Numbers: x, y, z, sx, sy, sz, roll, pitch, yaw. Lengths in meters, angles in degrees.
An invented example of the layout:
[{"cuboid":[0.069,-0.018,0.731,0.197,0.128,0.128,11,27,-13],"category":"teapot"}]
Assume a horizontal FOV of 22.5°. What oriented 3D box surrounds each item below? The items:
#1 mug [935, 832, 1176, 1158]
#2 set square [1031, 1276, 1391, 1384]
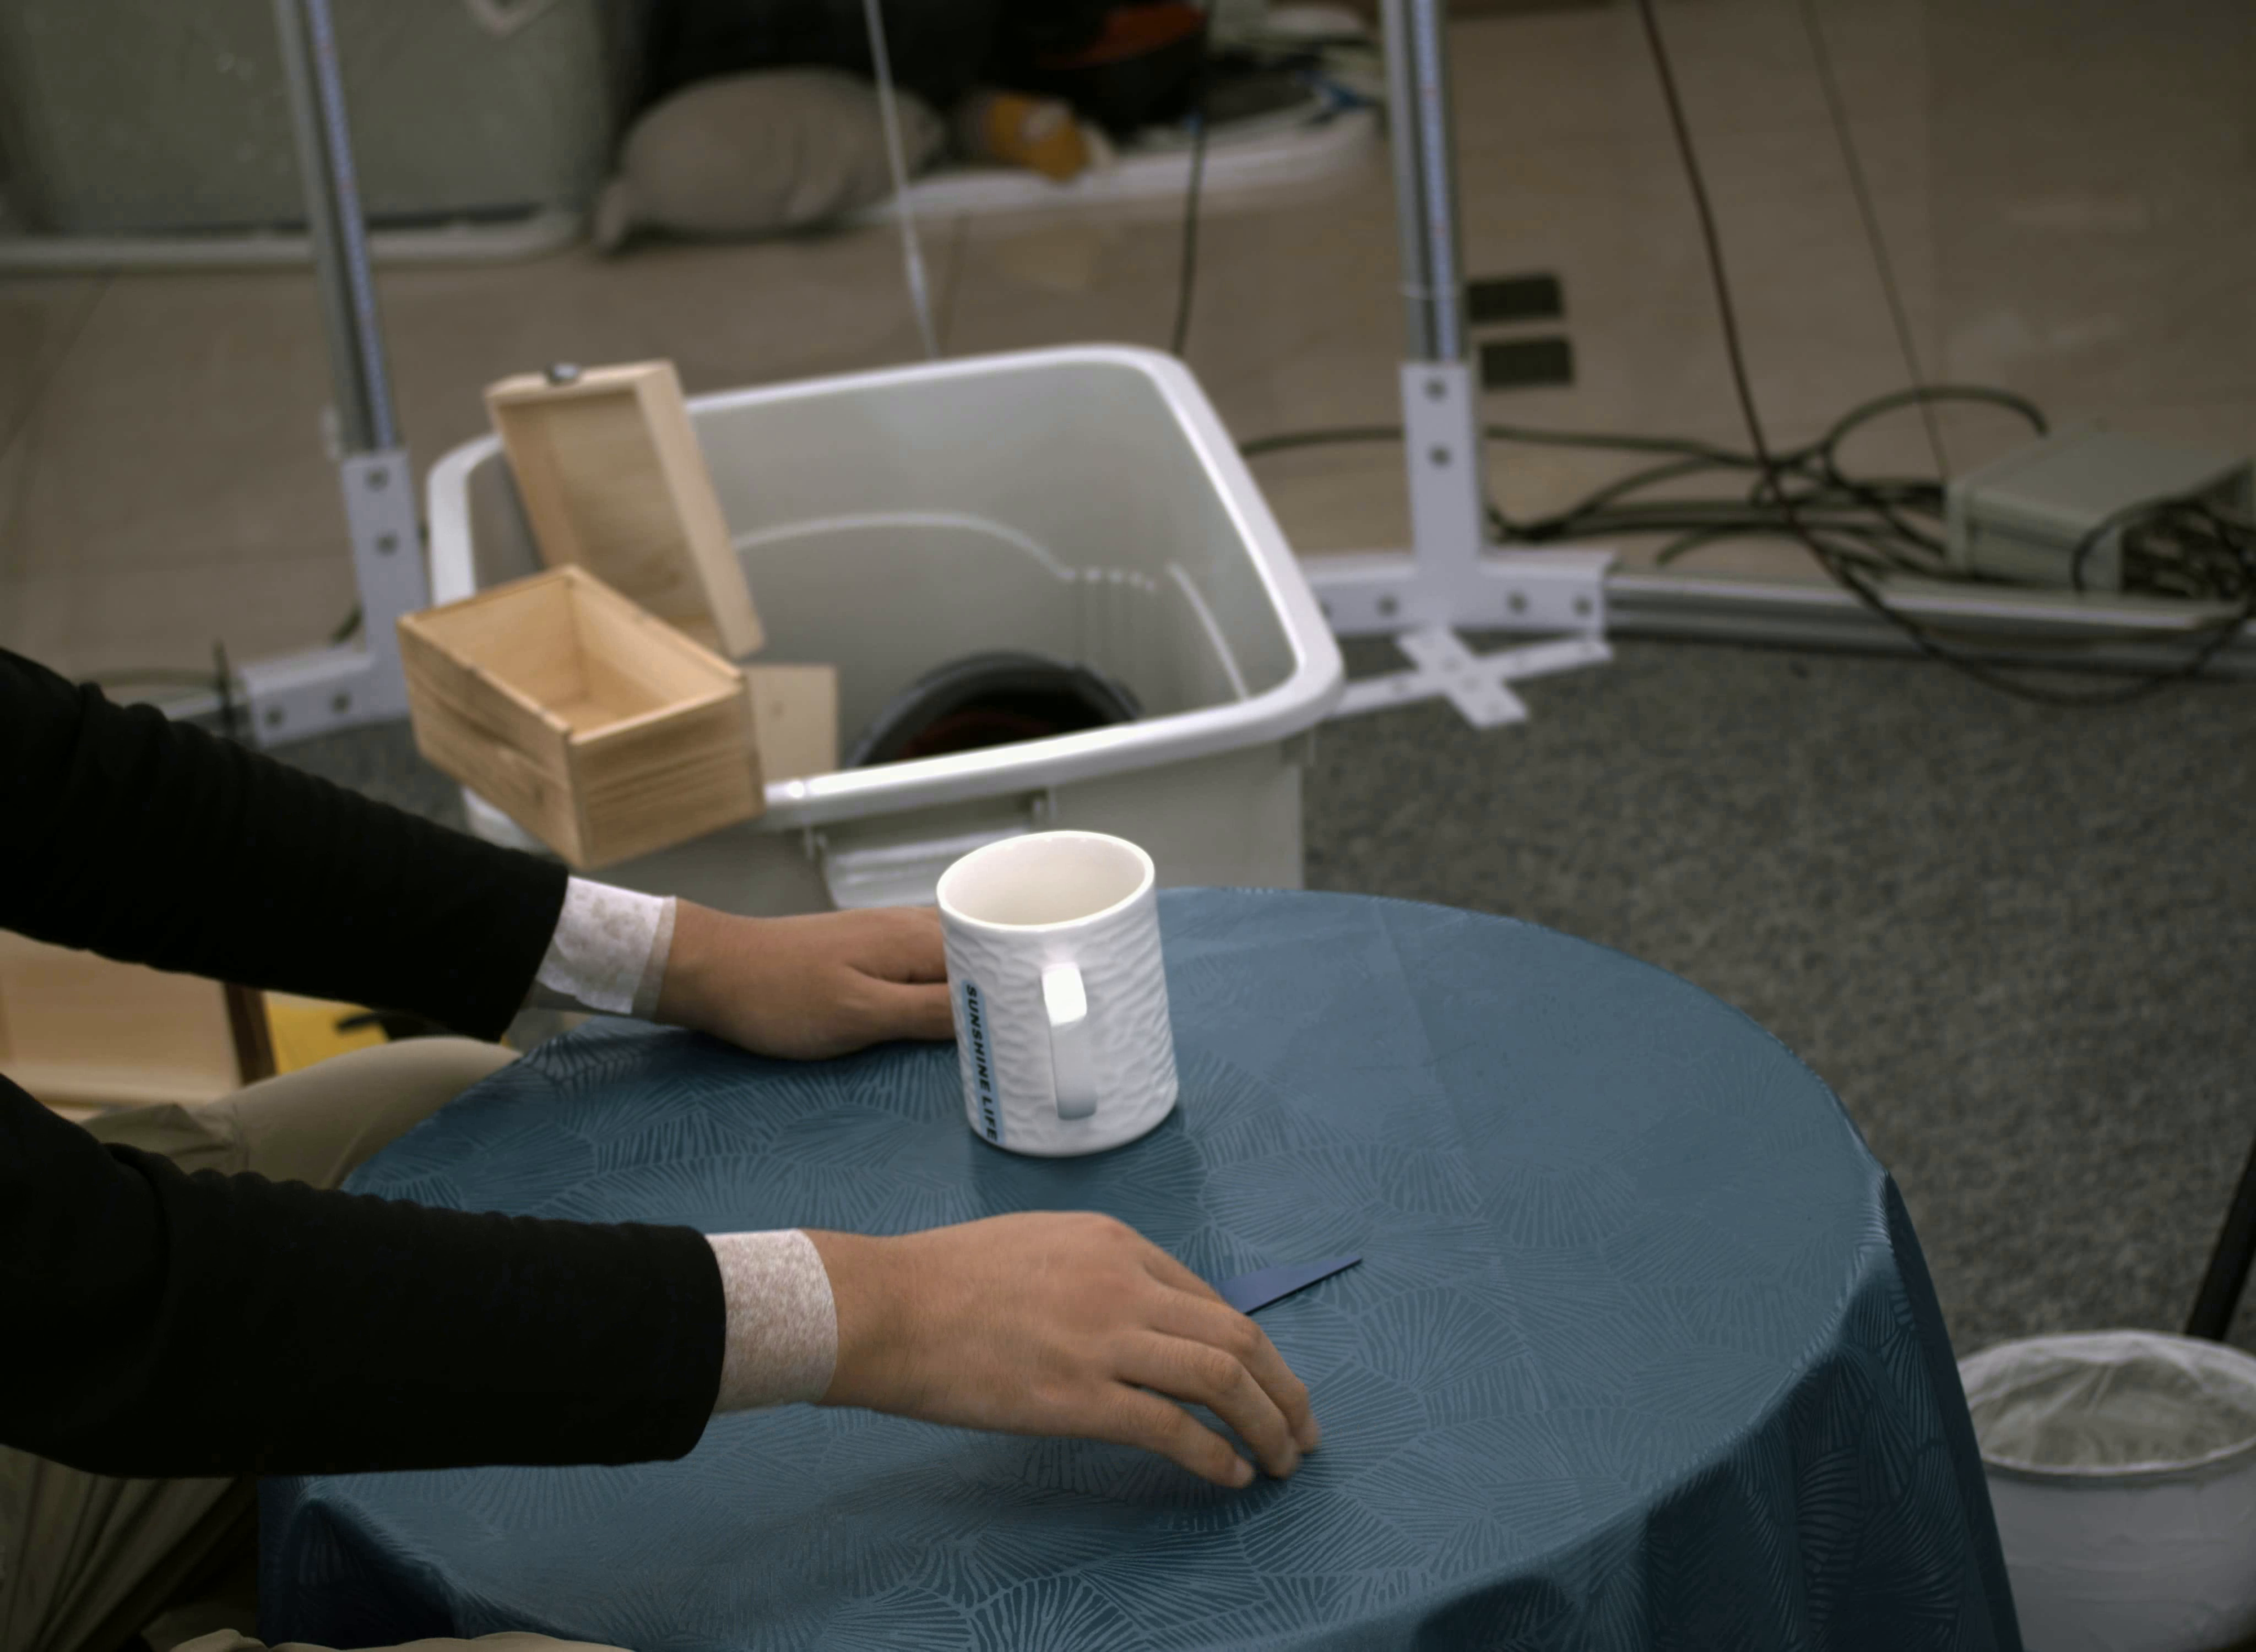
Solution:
[{"cuboid":[-0.025,0.072,2.175,0.085,0.103,0.116,-7,25,-2],"category":"mug"},{"cuboid":[0.031,0.181,2.046,0.132,0.006,0.060,-6,25,0],"category":"set square"}]
